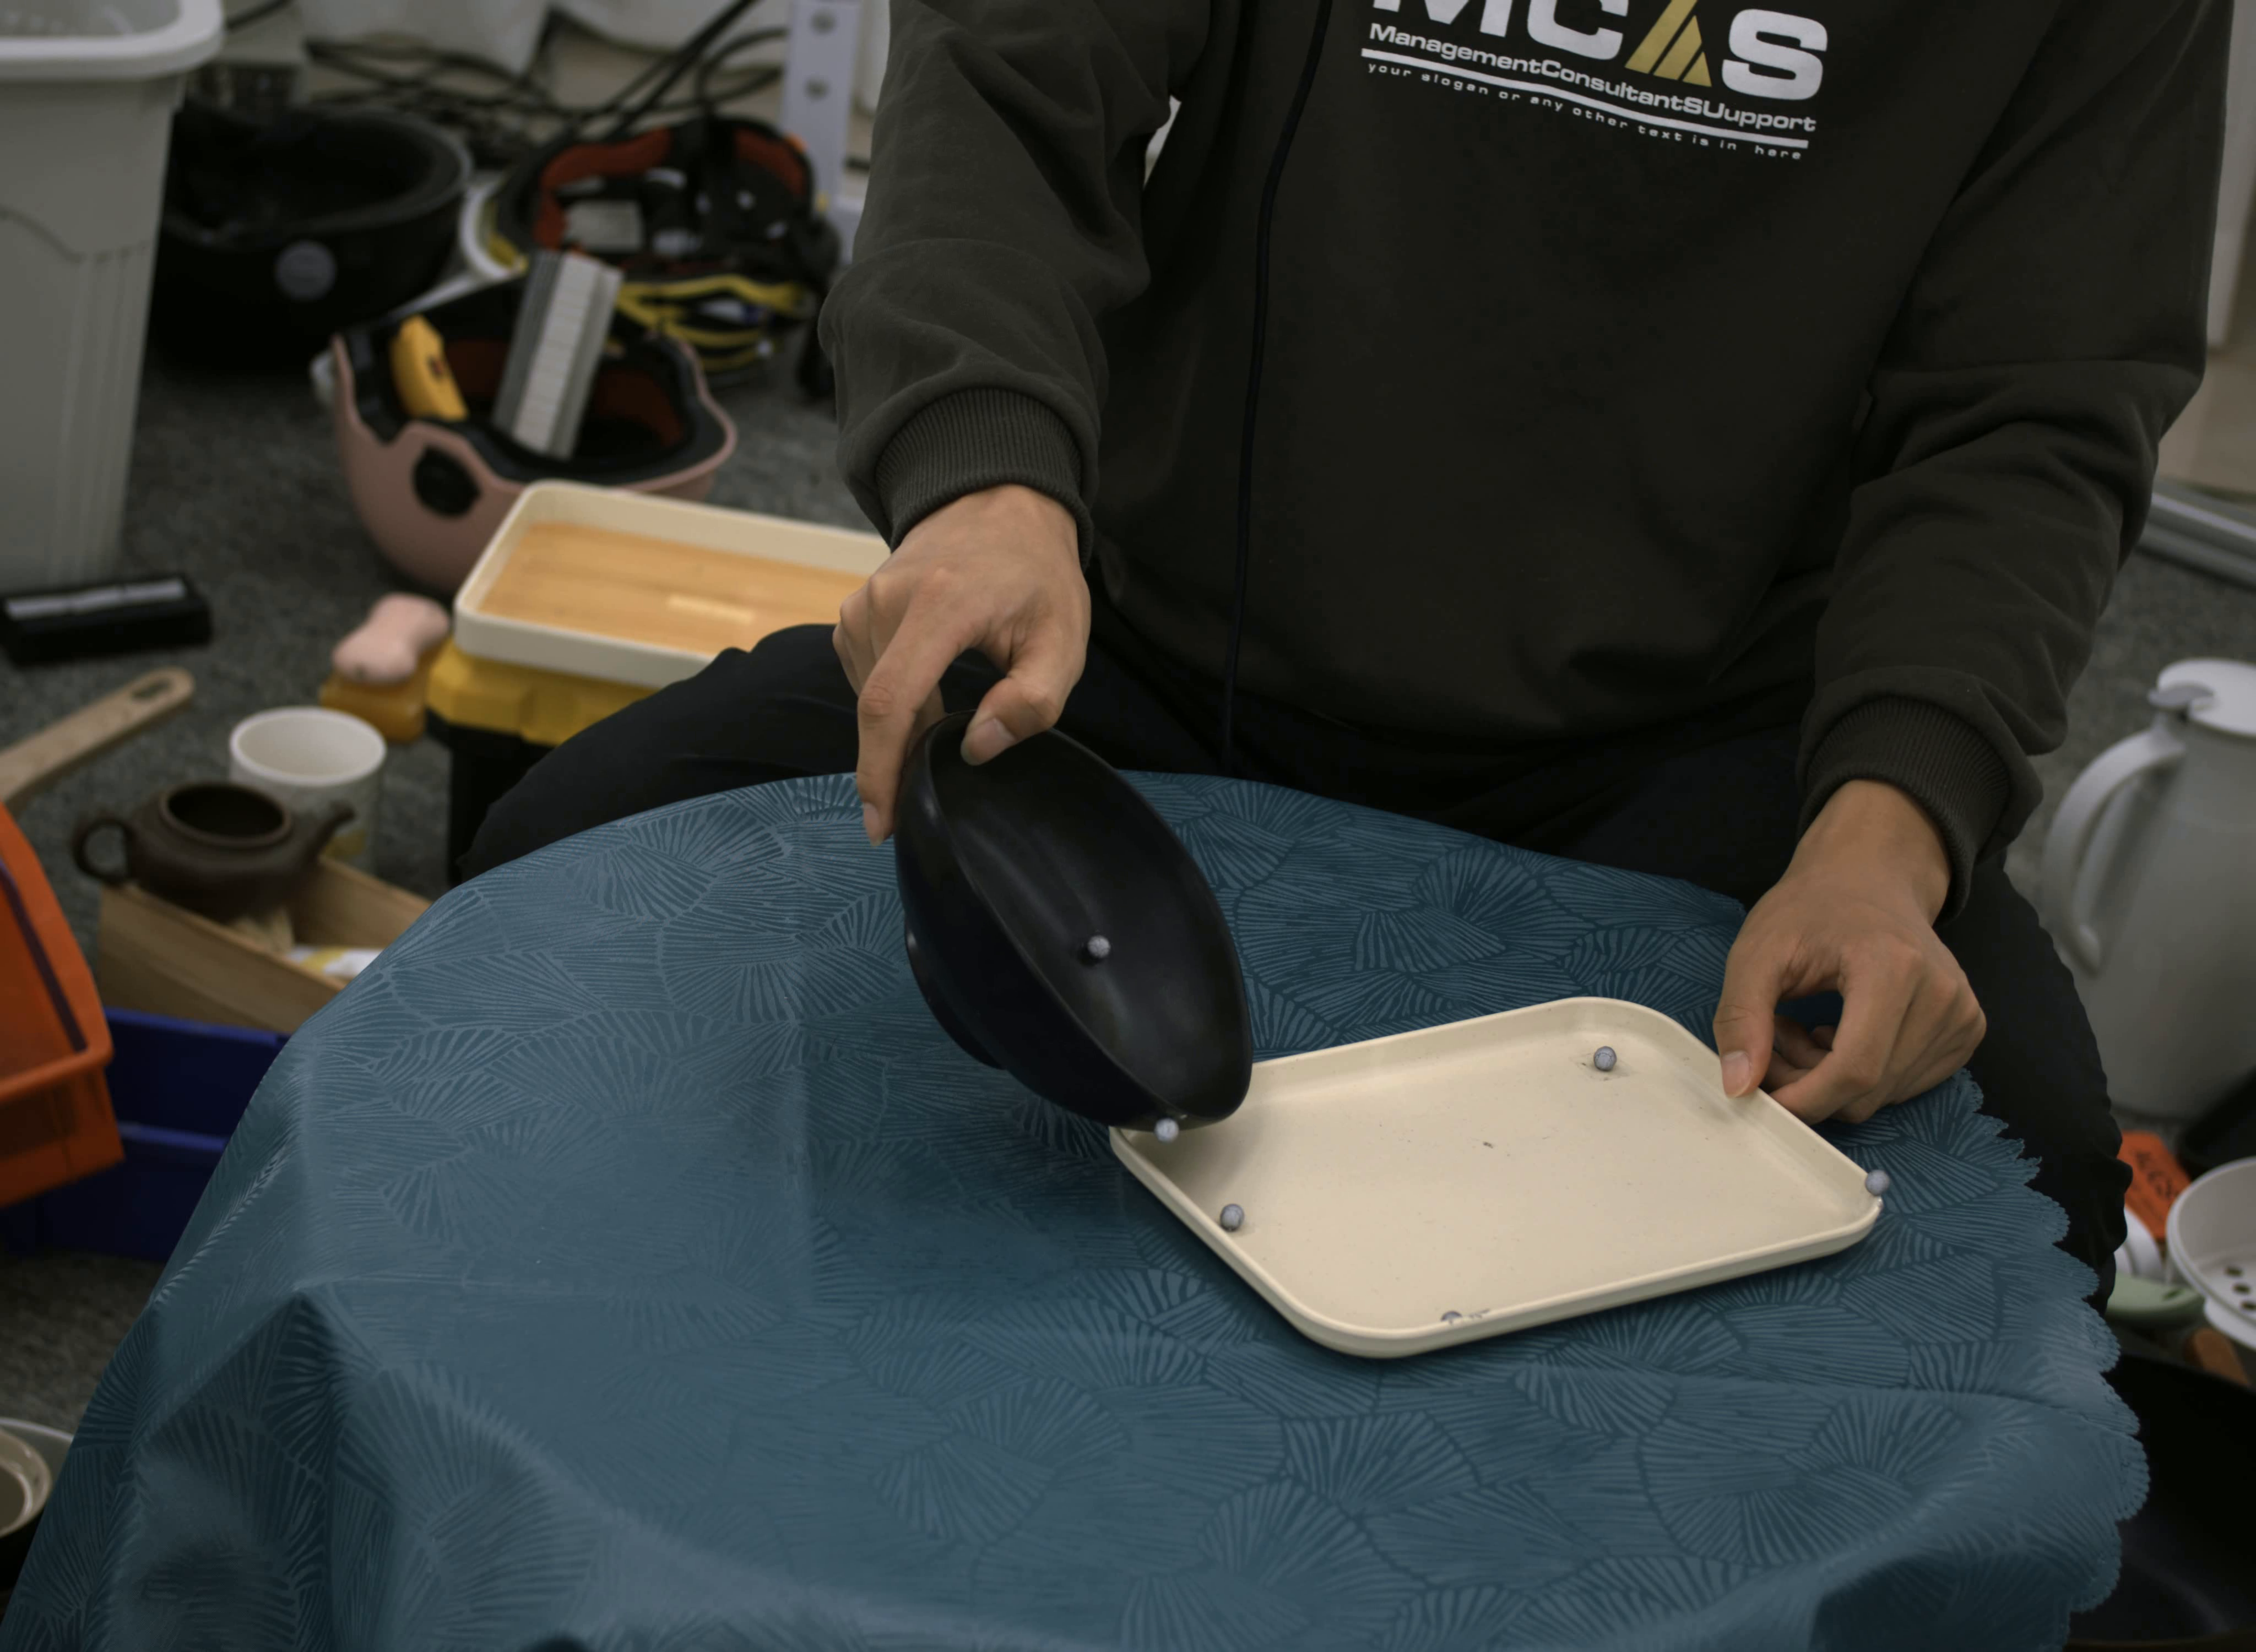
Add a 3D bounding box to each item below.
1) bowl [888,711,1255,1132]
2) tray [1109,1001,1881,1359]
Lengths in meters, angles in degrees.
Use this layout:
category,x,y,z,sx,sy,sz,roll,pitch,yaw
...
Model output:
category,x,y,z,sx,sy,sz,roll,pitch,yaw
bowl,-0.030,0.042,1.809,0.169,0.067,0.138,49,28,-17
tray,0.125,0.120,1.824,0.238,0.017,0.173,-10,30,-30
